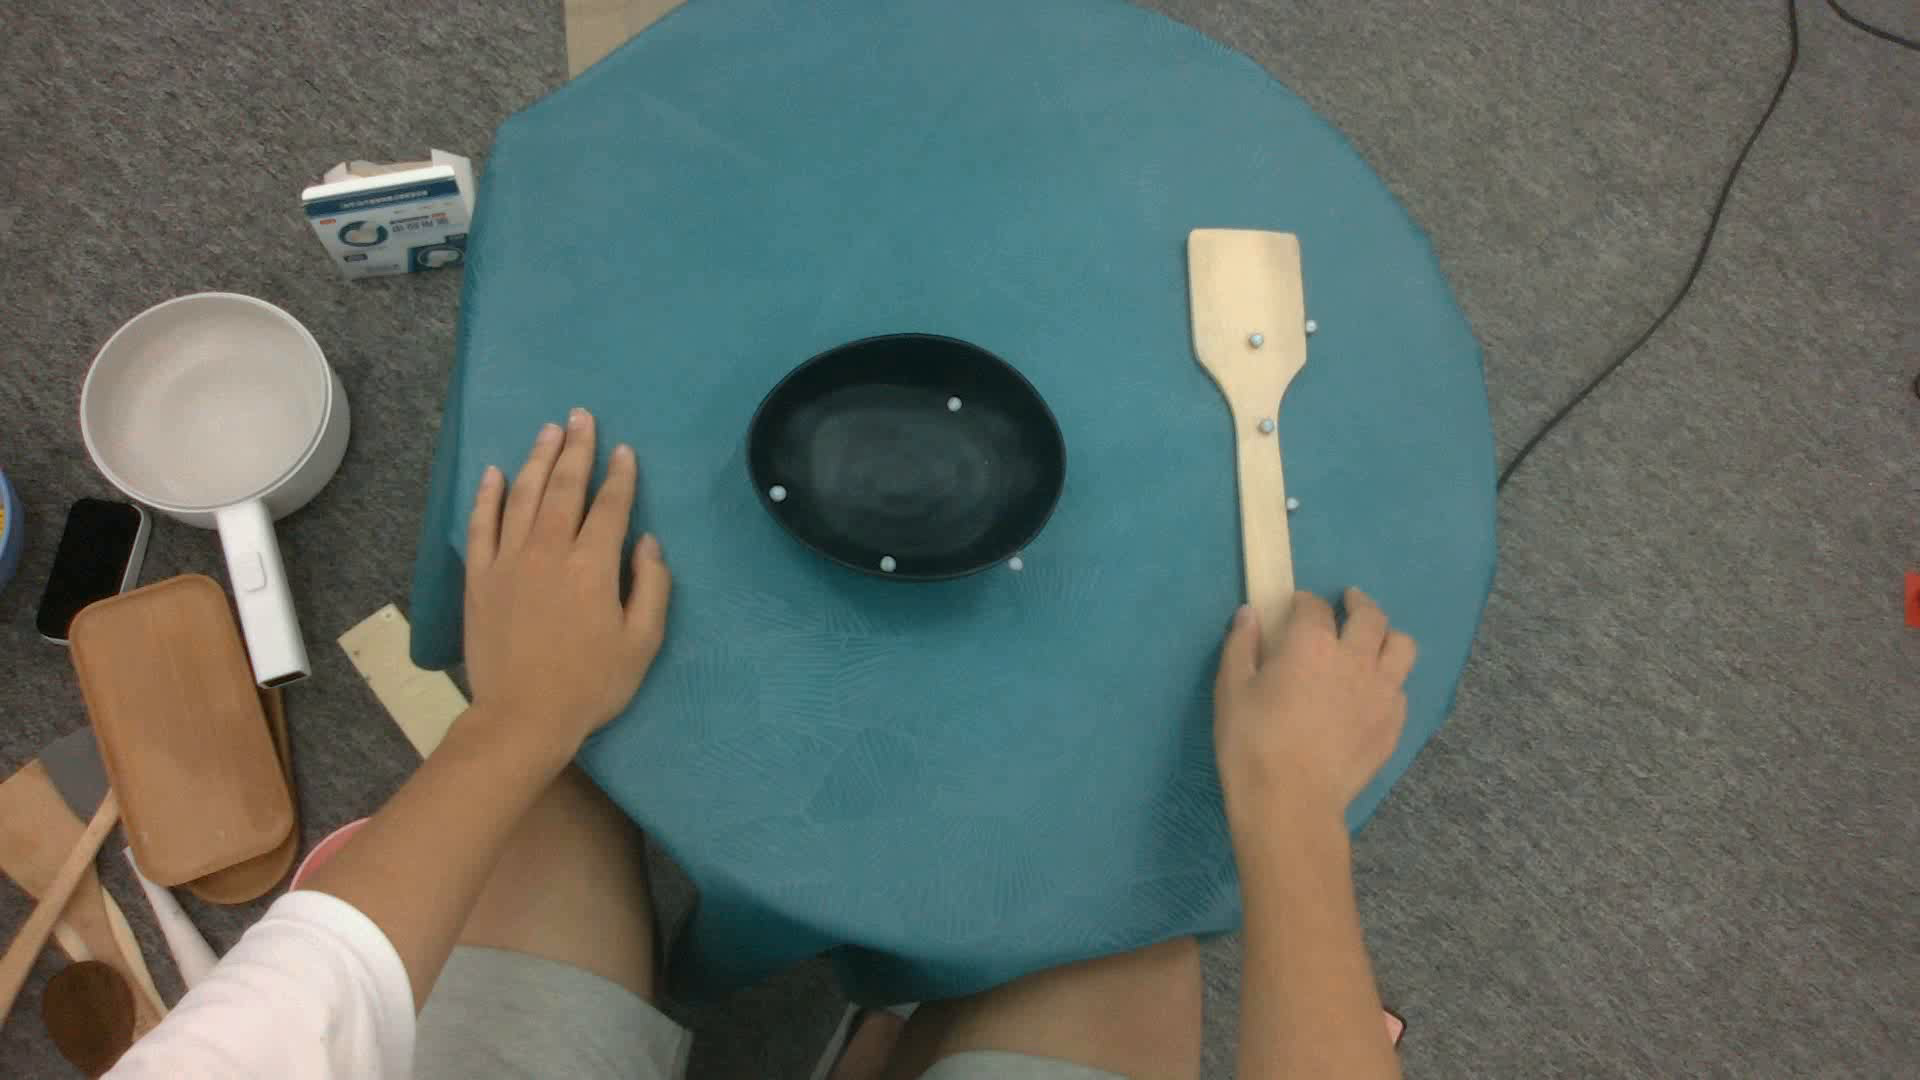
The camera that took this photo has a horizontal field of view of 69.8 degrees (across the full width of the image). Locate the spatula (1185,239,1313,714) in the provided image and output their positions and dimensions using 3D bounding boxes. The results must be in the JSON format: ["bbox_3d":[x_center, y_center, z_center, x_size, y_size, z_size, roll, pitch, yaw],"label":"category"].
[{"bbox_3d":[0.180,-0.043,0.810,0.072,0.010,0.293,-1,74,-6],"label":"spatula"}]

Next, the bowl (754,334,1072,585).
[{"bbox_3d":[-0.027,-0.037,0.754,0.170,0.066,0.137,1,75,-5],"label":"bowl"}]
